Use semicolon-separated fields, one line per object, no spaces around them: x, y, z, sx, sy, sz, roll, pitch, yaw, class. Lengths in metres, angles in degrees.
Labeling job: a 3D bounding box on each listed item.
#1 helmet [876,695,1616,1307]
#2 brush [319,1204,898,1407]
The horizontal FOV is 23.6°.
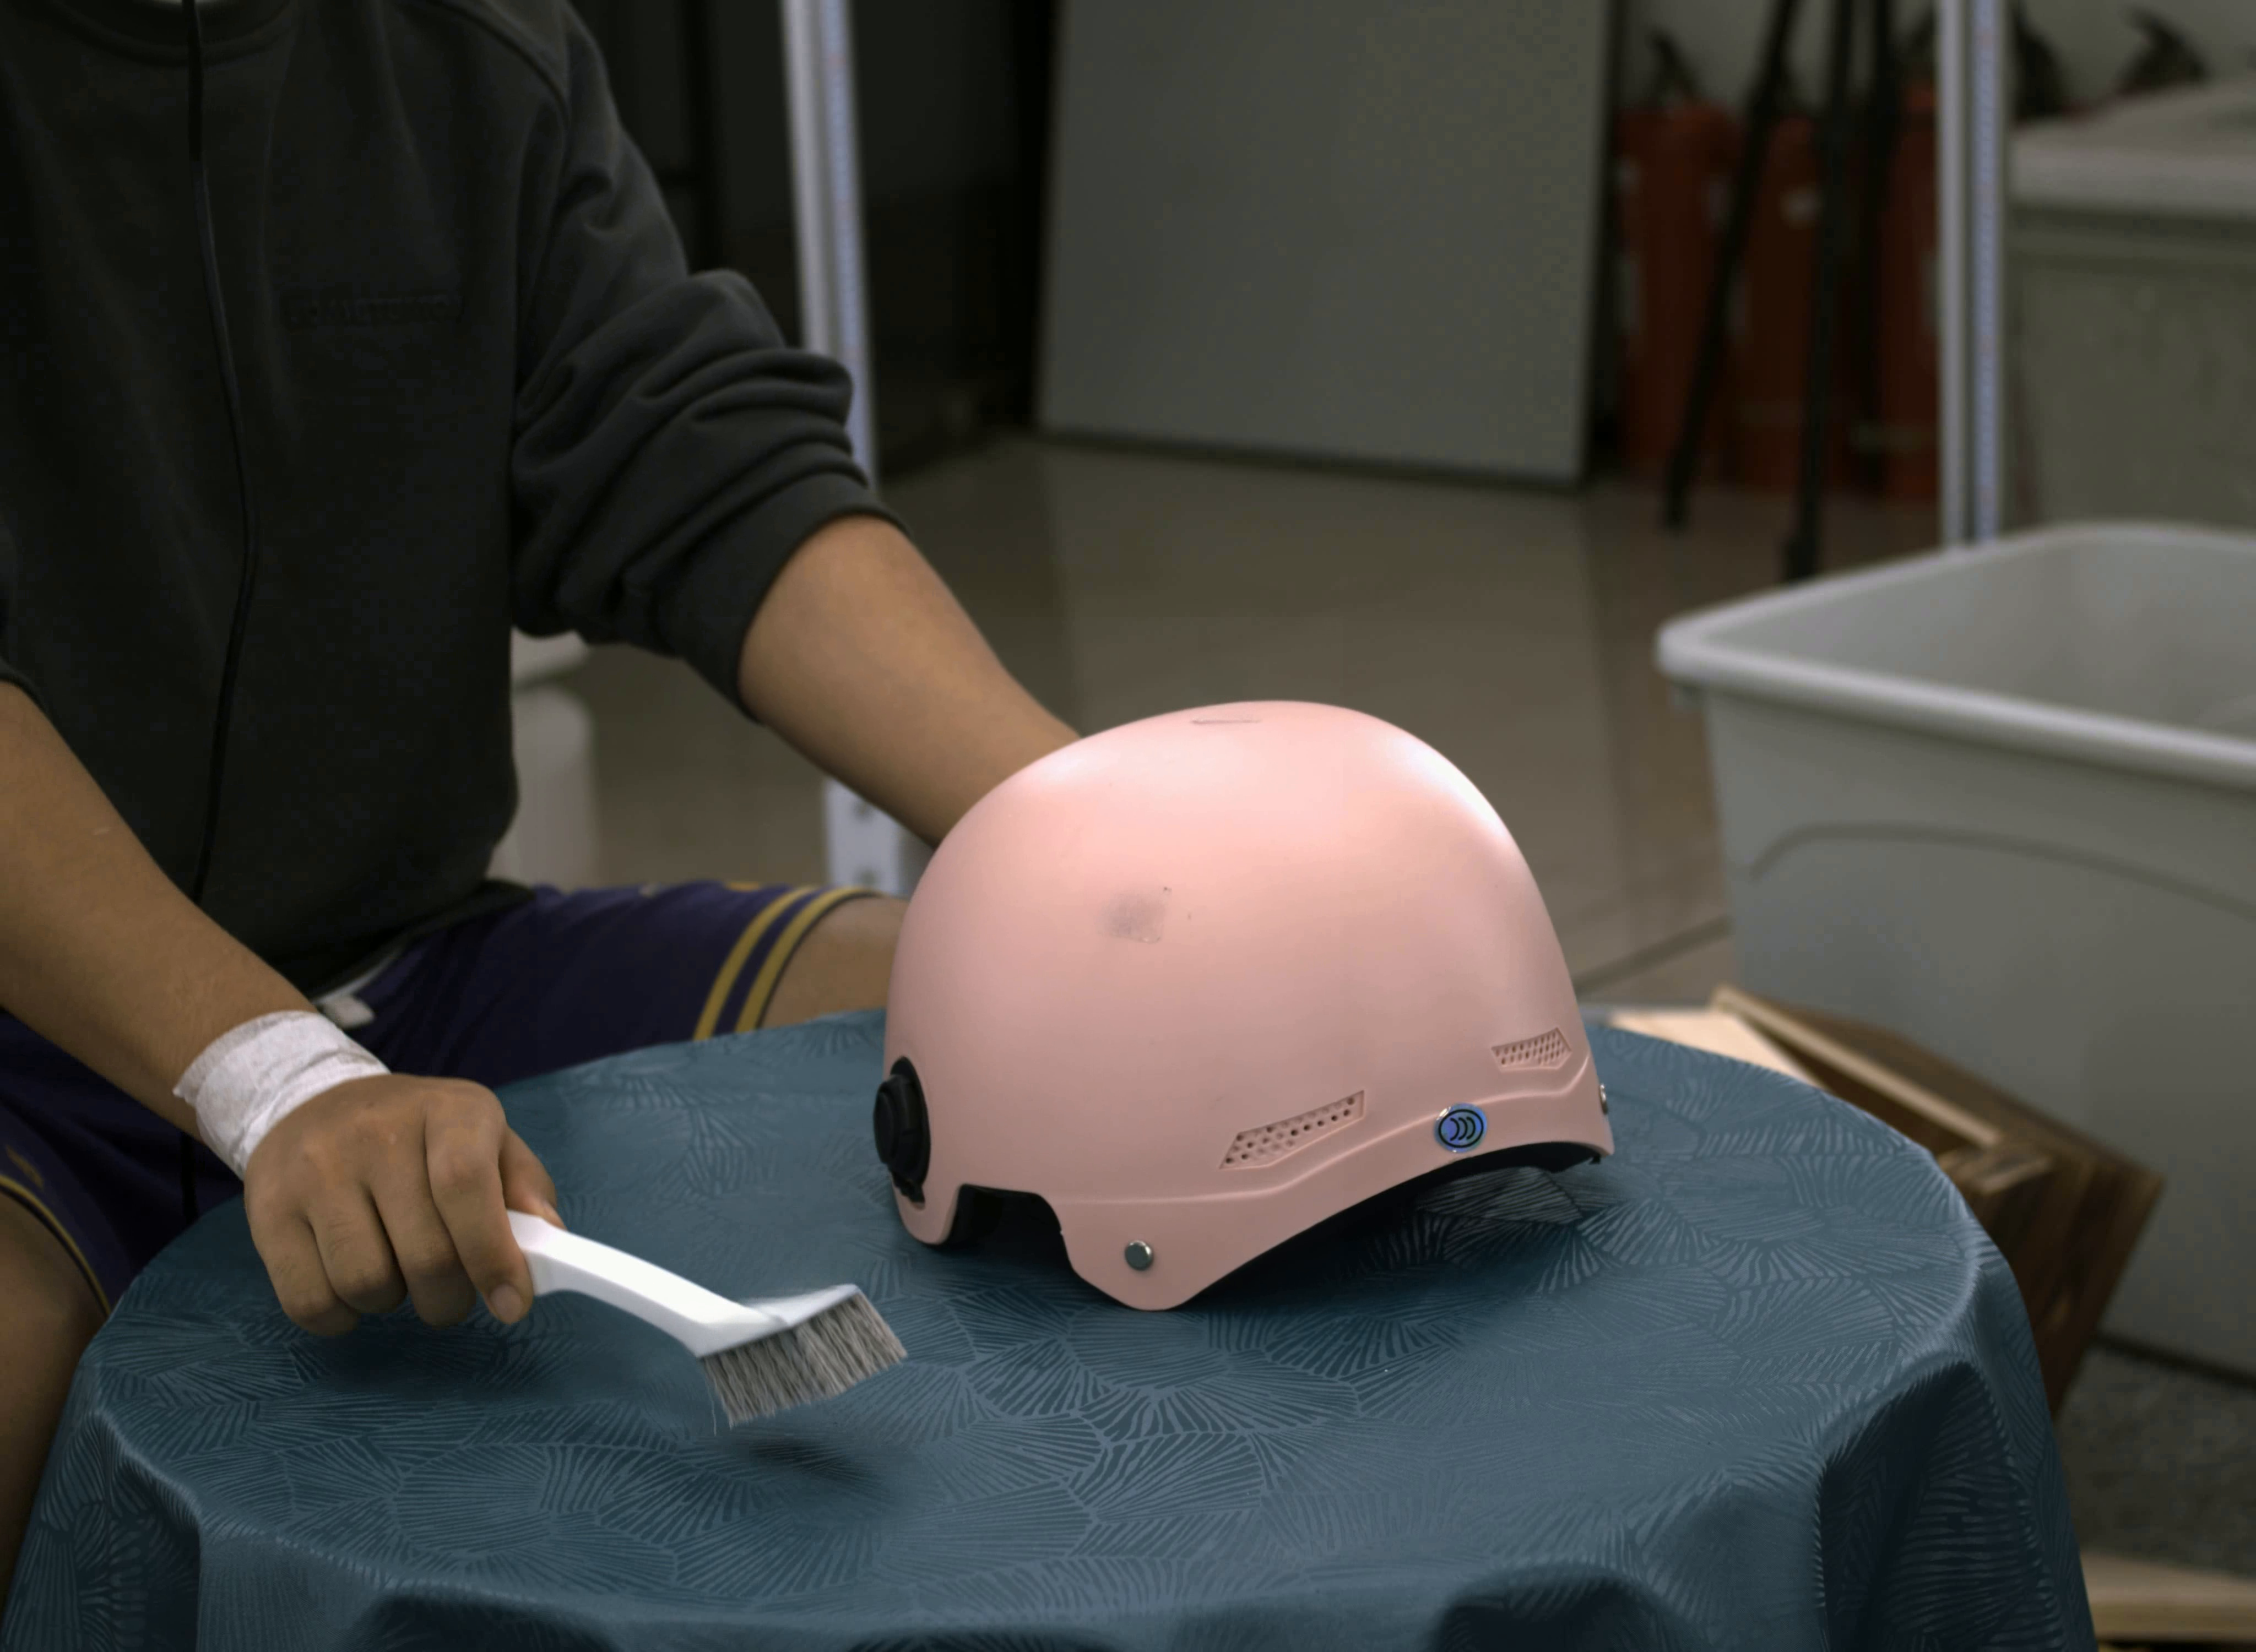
0.025;0.039;1.748;0.229;0.160;0.269;-17;14;-27;helmet
-0.157;0.141;1.601;0.246;0.050;0.034;-1;20;47;brush
